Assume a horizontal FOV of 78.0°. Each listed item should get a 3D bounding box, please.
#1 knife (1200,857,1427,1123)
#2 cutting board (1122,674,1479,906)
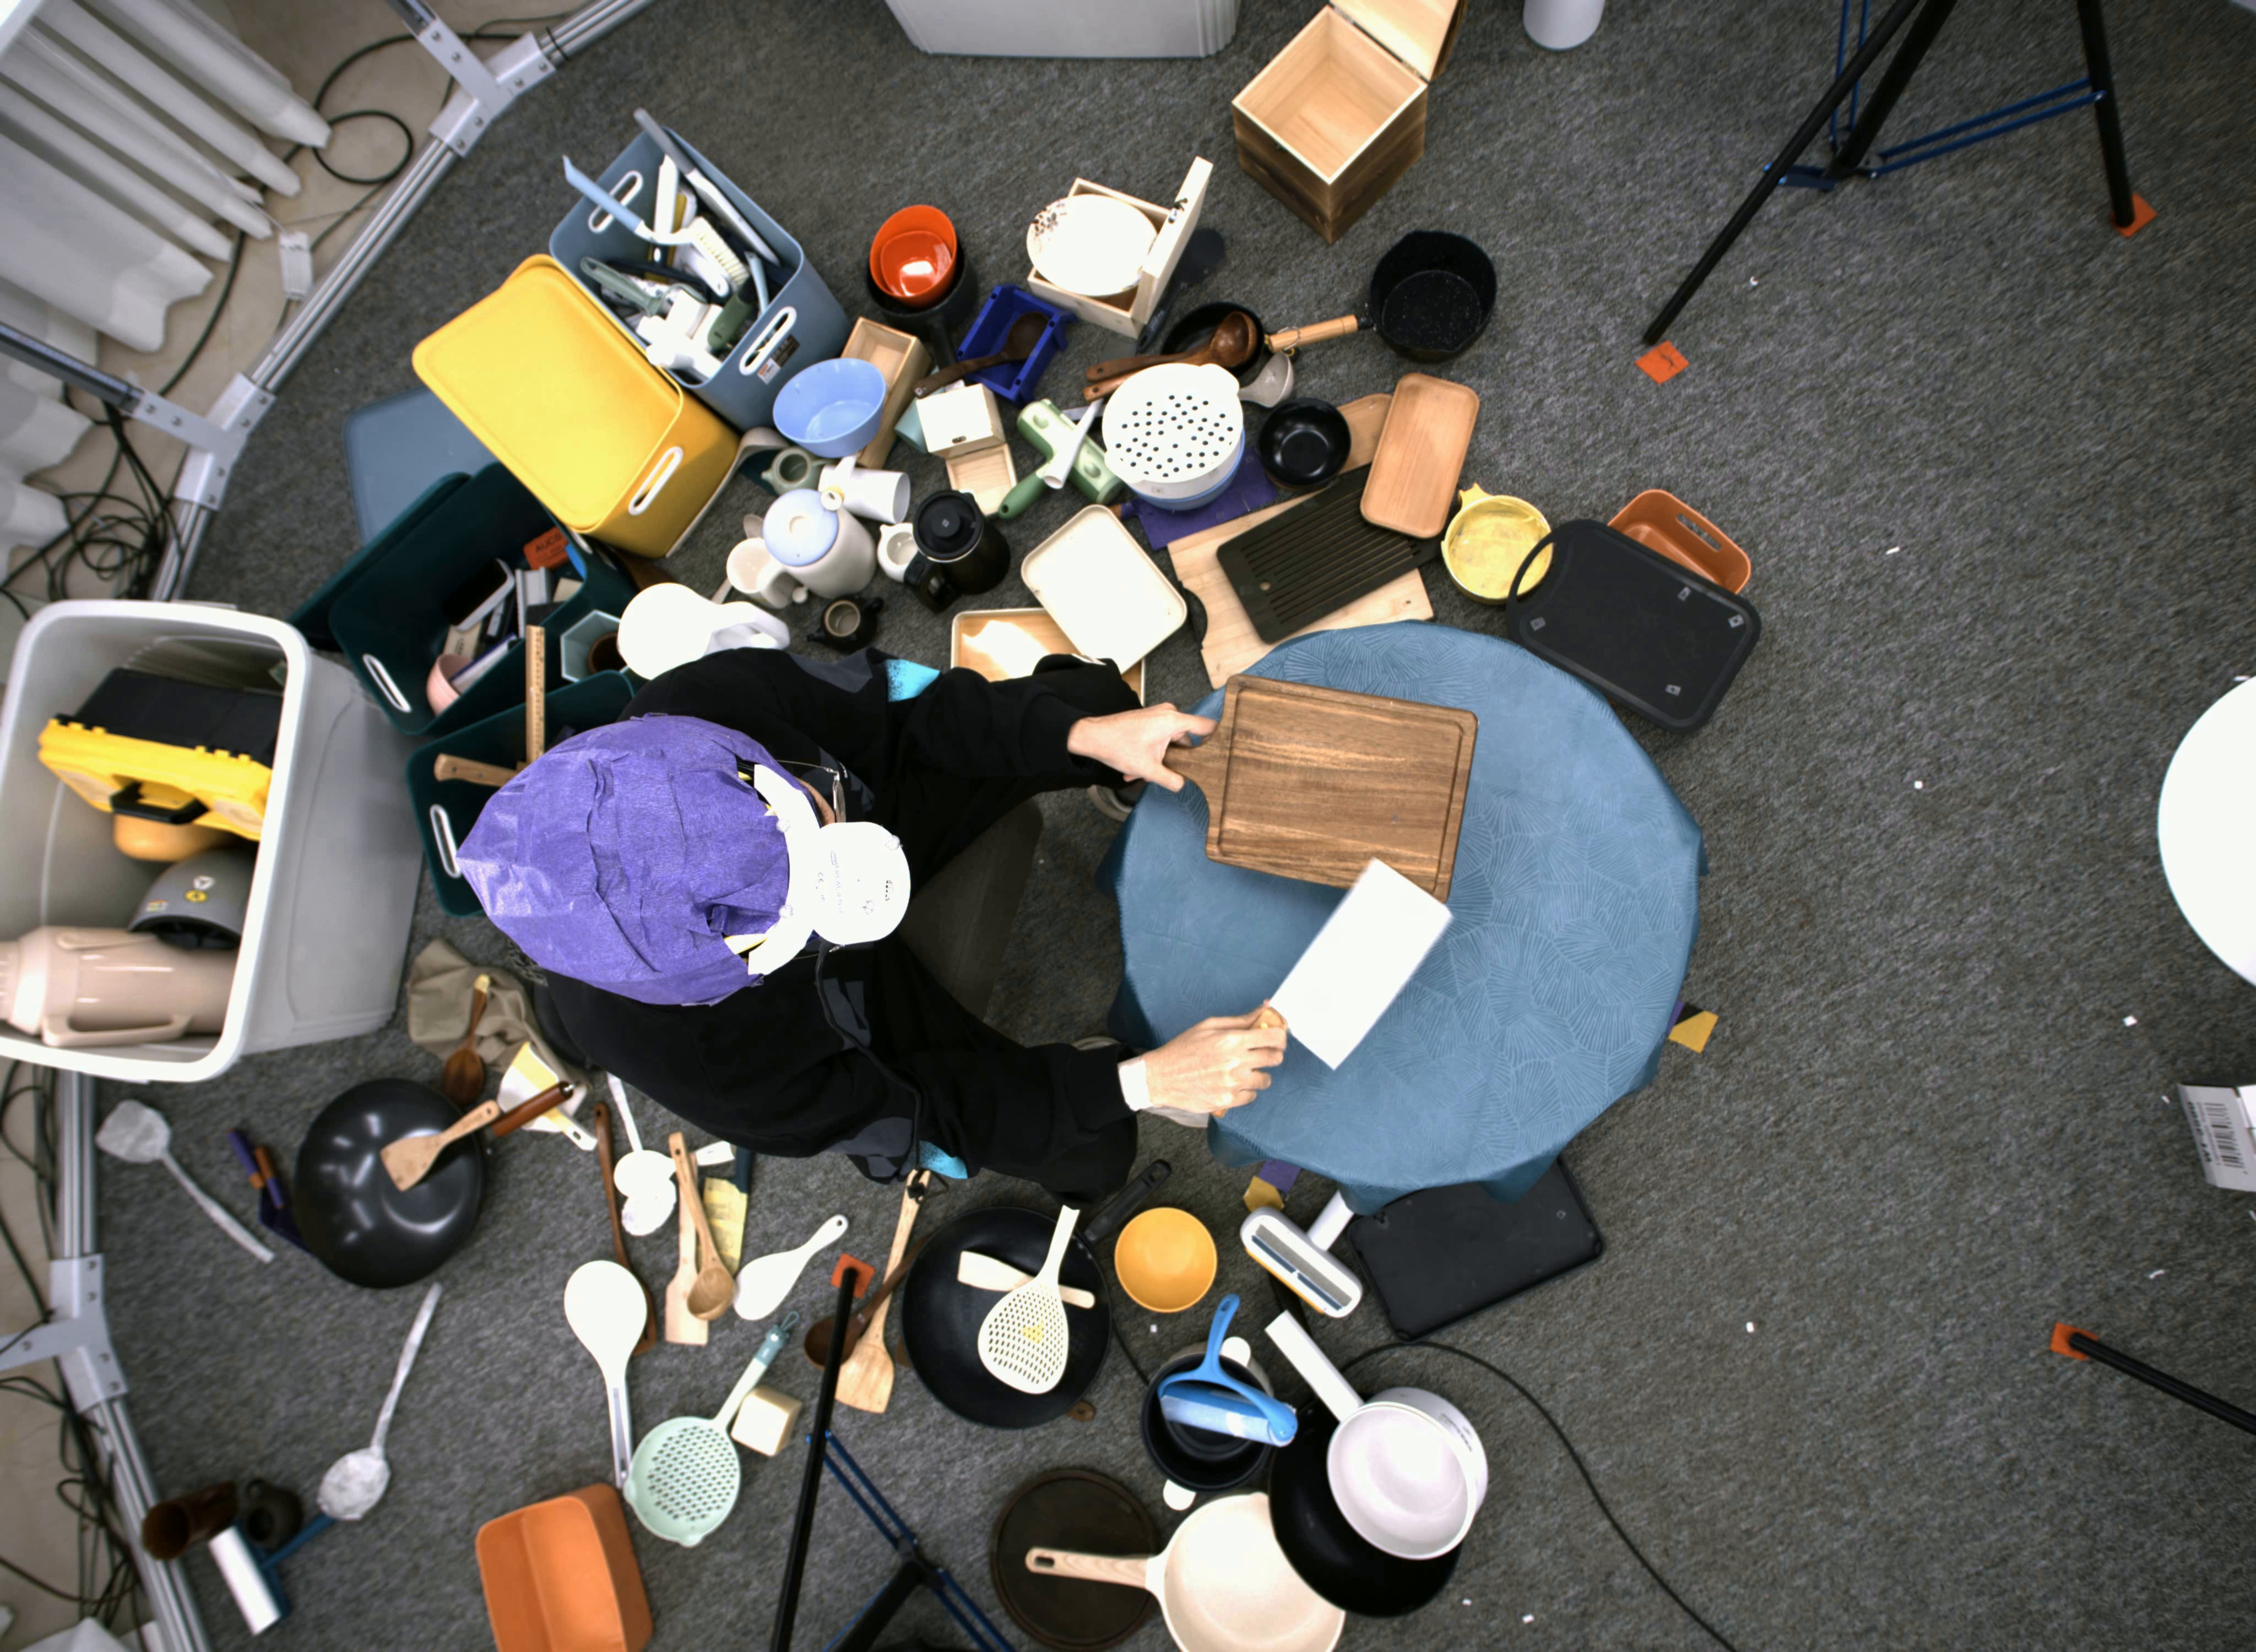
[{"bbox_3d":[0.187,0.174,1.359,0.092,0.021,0.306,35,93,16],"label":"knife"},{"bbox_3d":[0.161,-0.046,1.380,0.353,0.023,0.204,11,109,18],"label":"cutting board"}]
